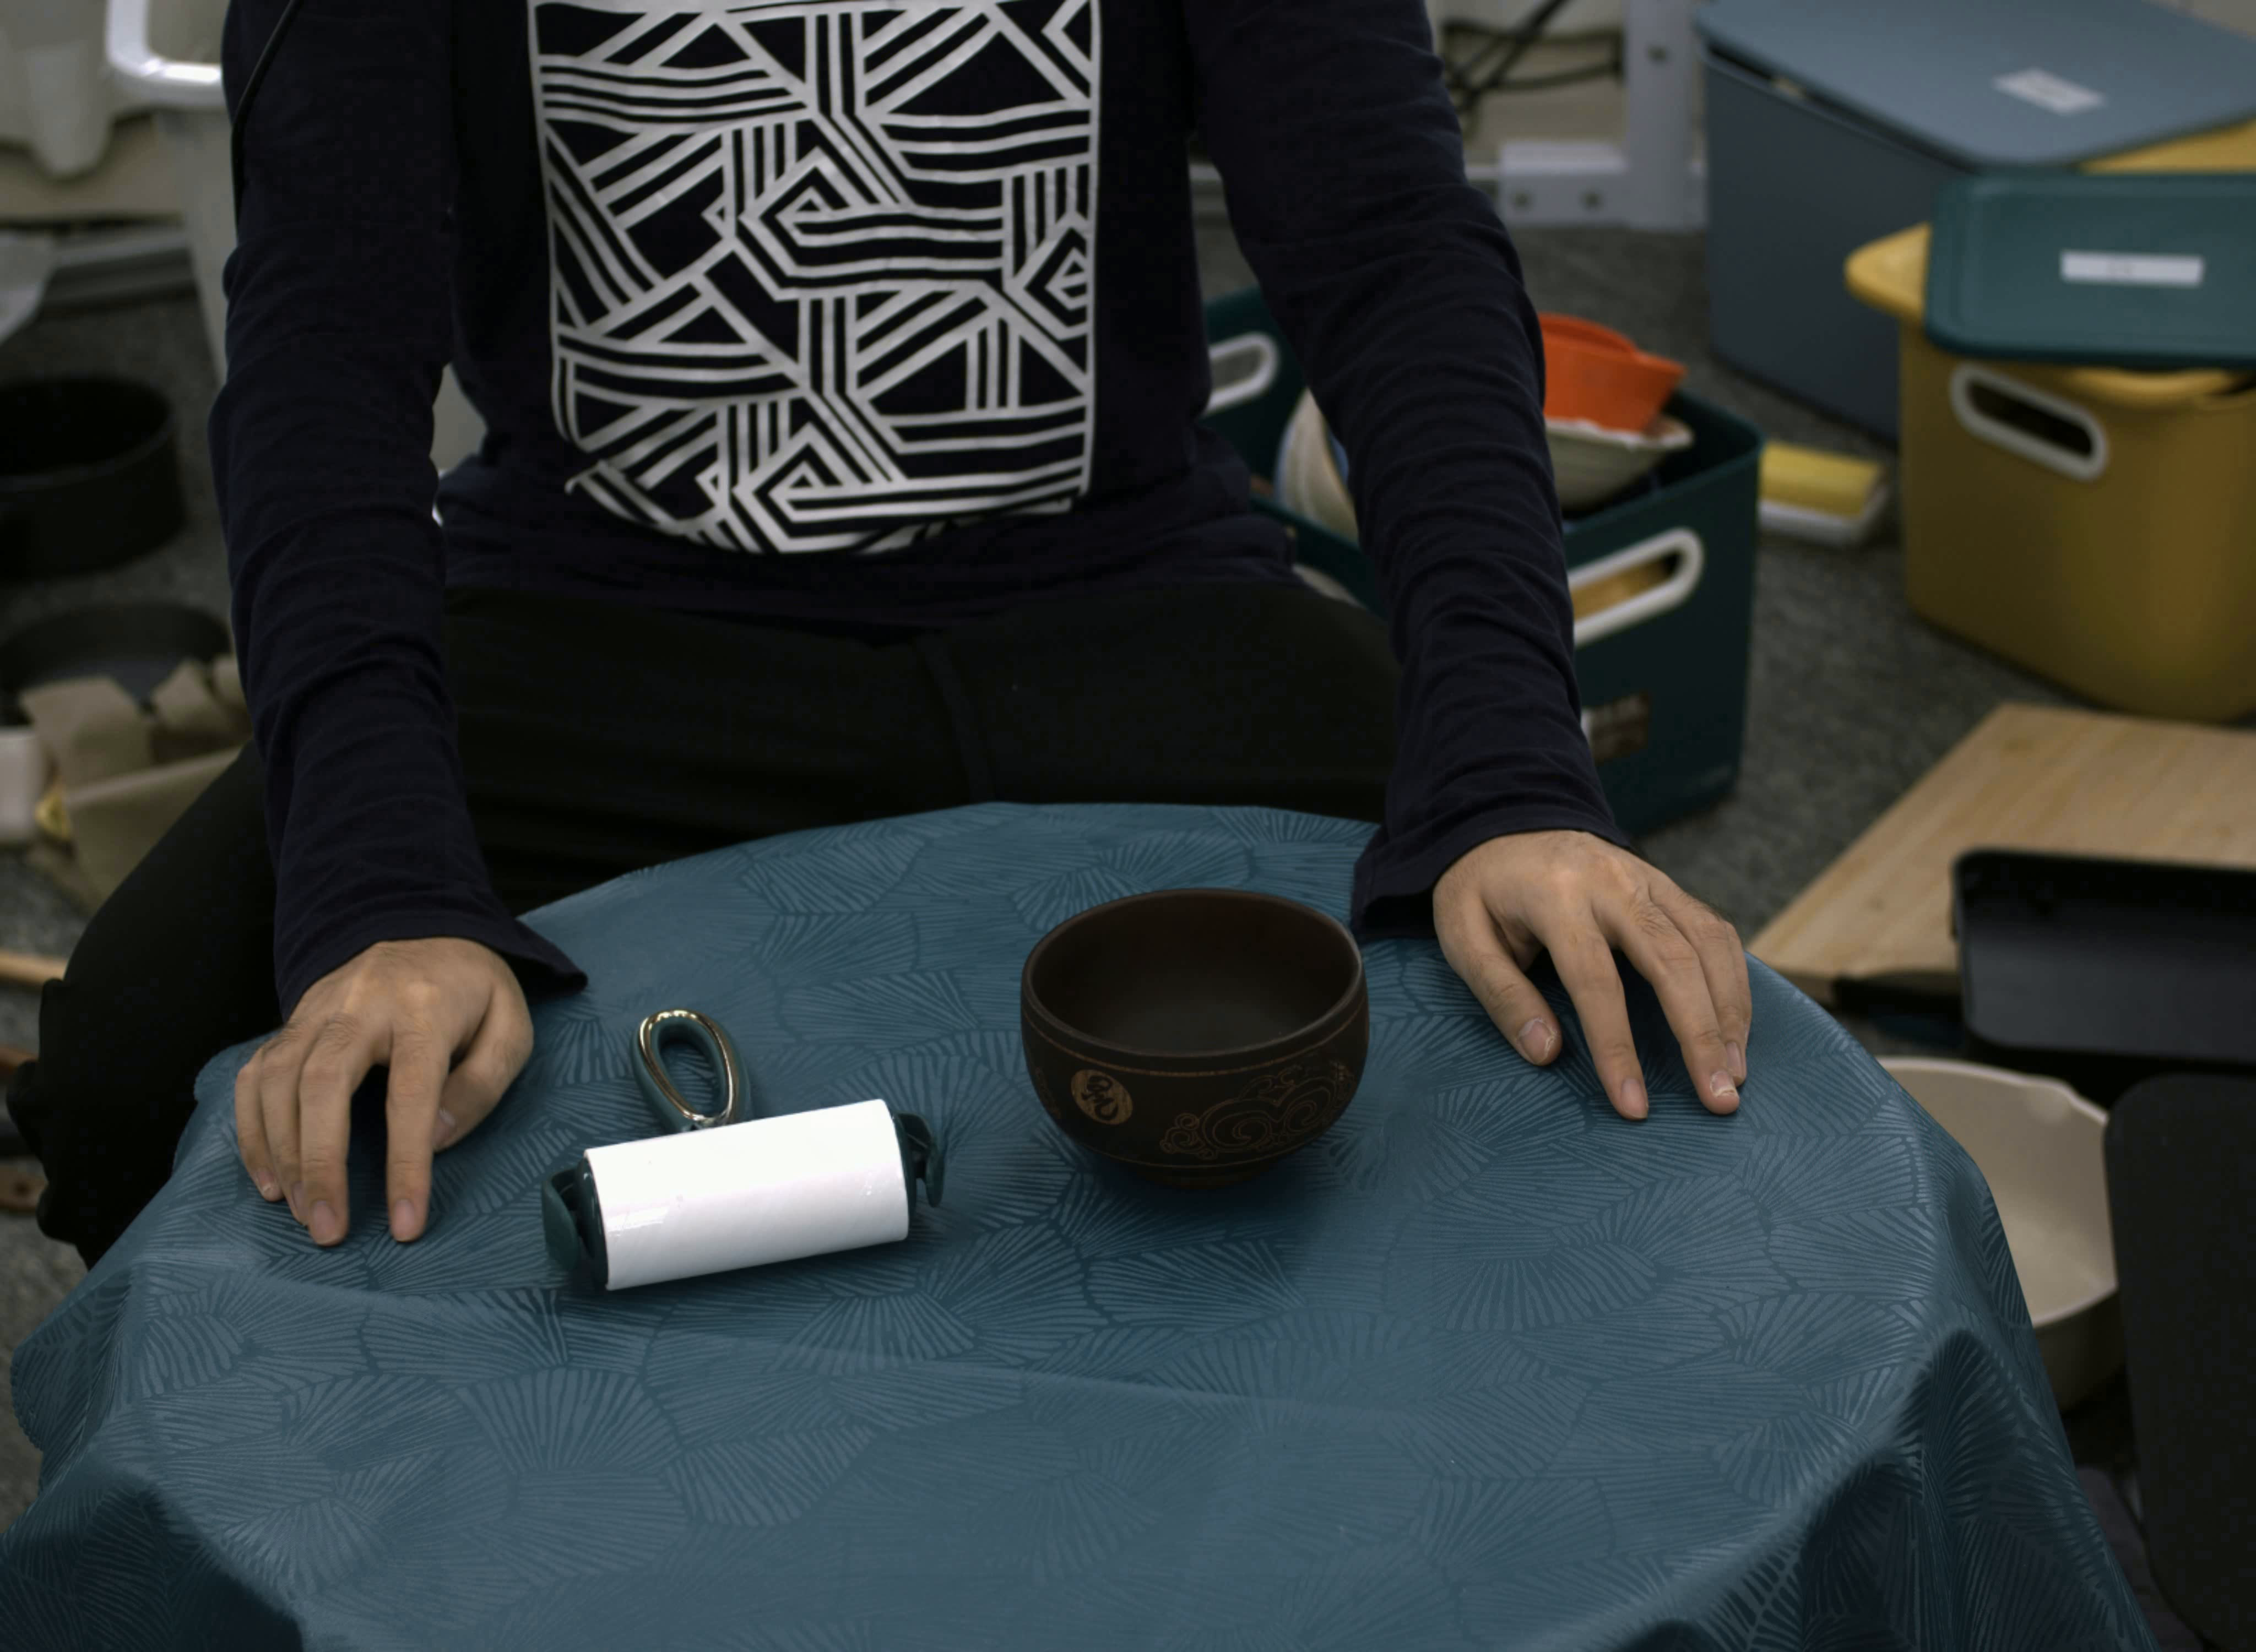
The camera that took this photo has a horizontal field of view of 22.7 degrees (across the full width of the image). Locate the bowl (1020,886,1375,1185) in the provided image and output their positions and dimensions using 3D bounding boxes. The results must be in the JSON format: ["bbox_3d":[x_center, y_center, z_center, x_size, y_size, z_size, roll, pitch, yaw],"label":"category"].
[{"bbox_3d":[0.024,0.076,1.870,0.117,0.069,0.120,-4,25,2],"label":"bowl"}]

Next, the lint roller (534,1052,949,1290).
[{"bbox_3d":[-0.141,0.095,1.885,0.134,0.048,0.181,-10,23,-11],"label":"lint roller"}]
